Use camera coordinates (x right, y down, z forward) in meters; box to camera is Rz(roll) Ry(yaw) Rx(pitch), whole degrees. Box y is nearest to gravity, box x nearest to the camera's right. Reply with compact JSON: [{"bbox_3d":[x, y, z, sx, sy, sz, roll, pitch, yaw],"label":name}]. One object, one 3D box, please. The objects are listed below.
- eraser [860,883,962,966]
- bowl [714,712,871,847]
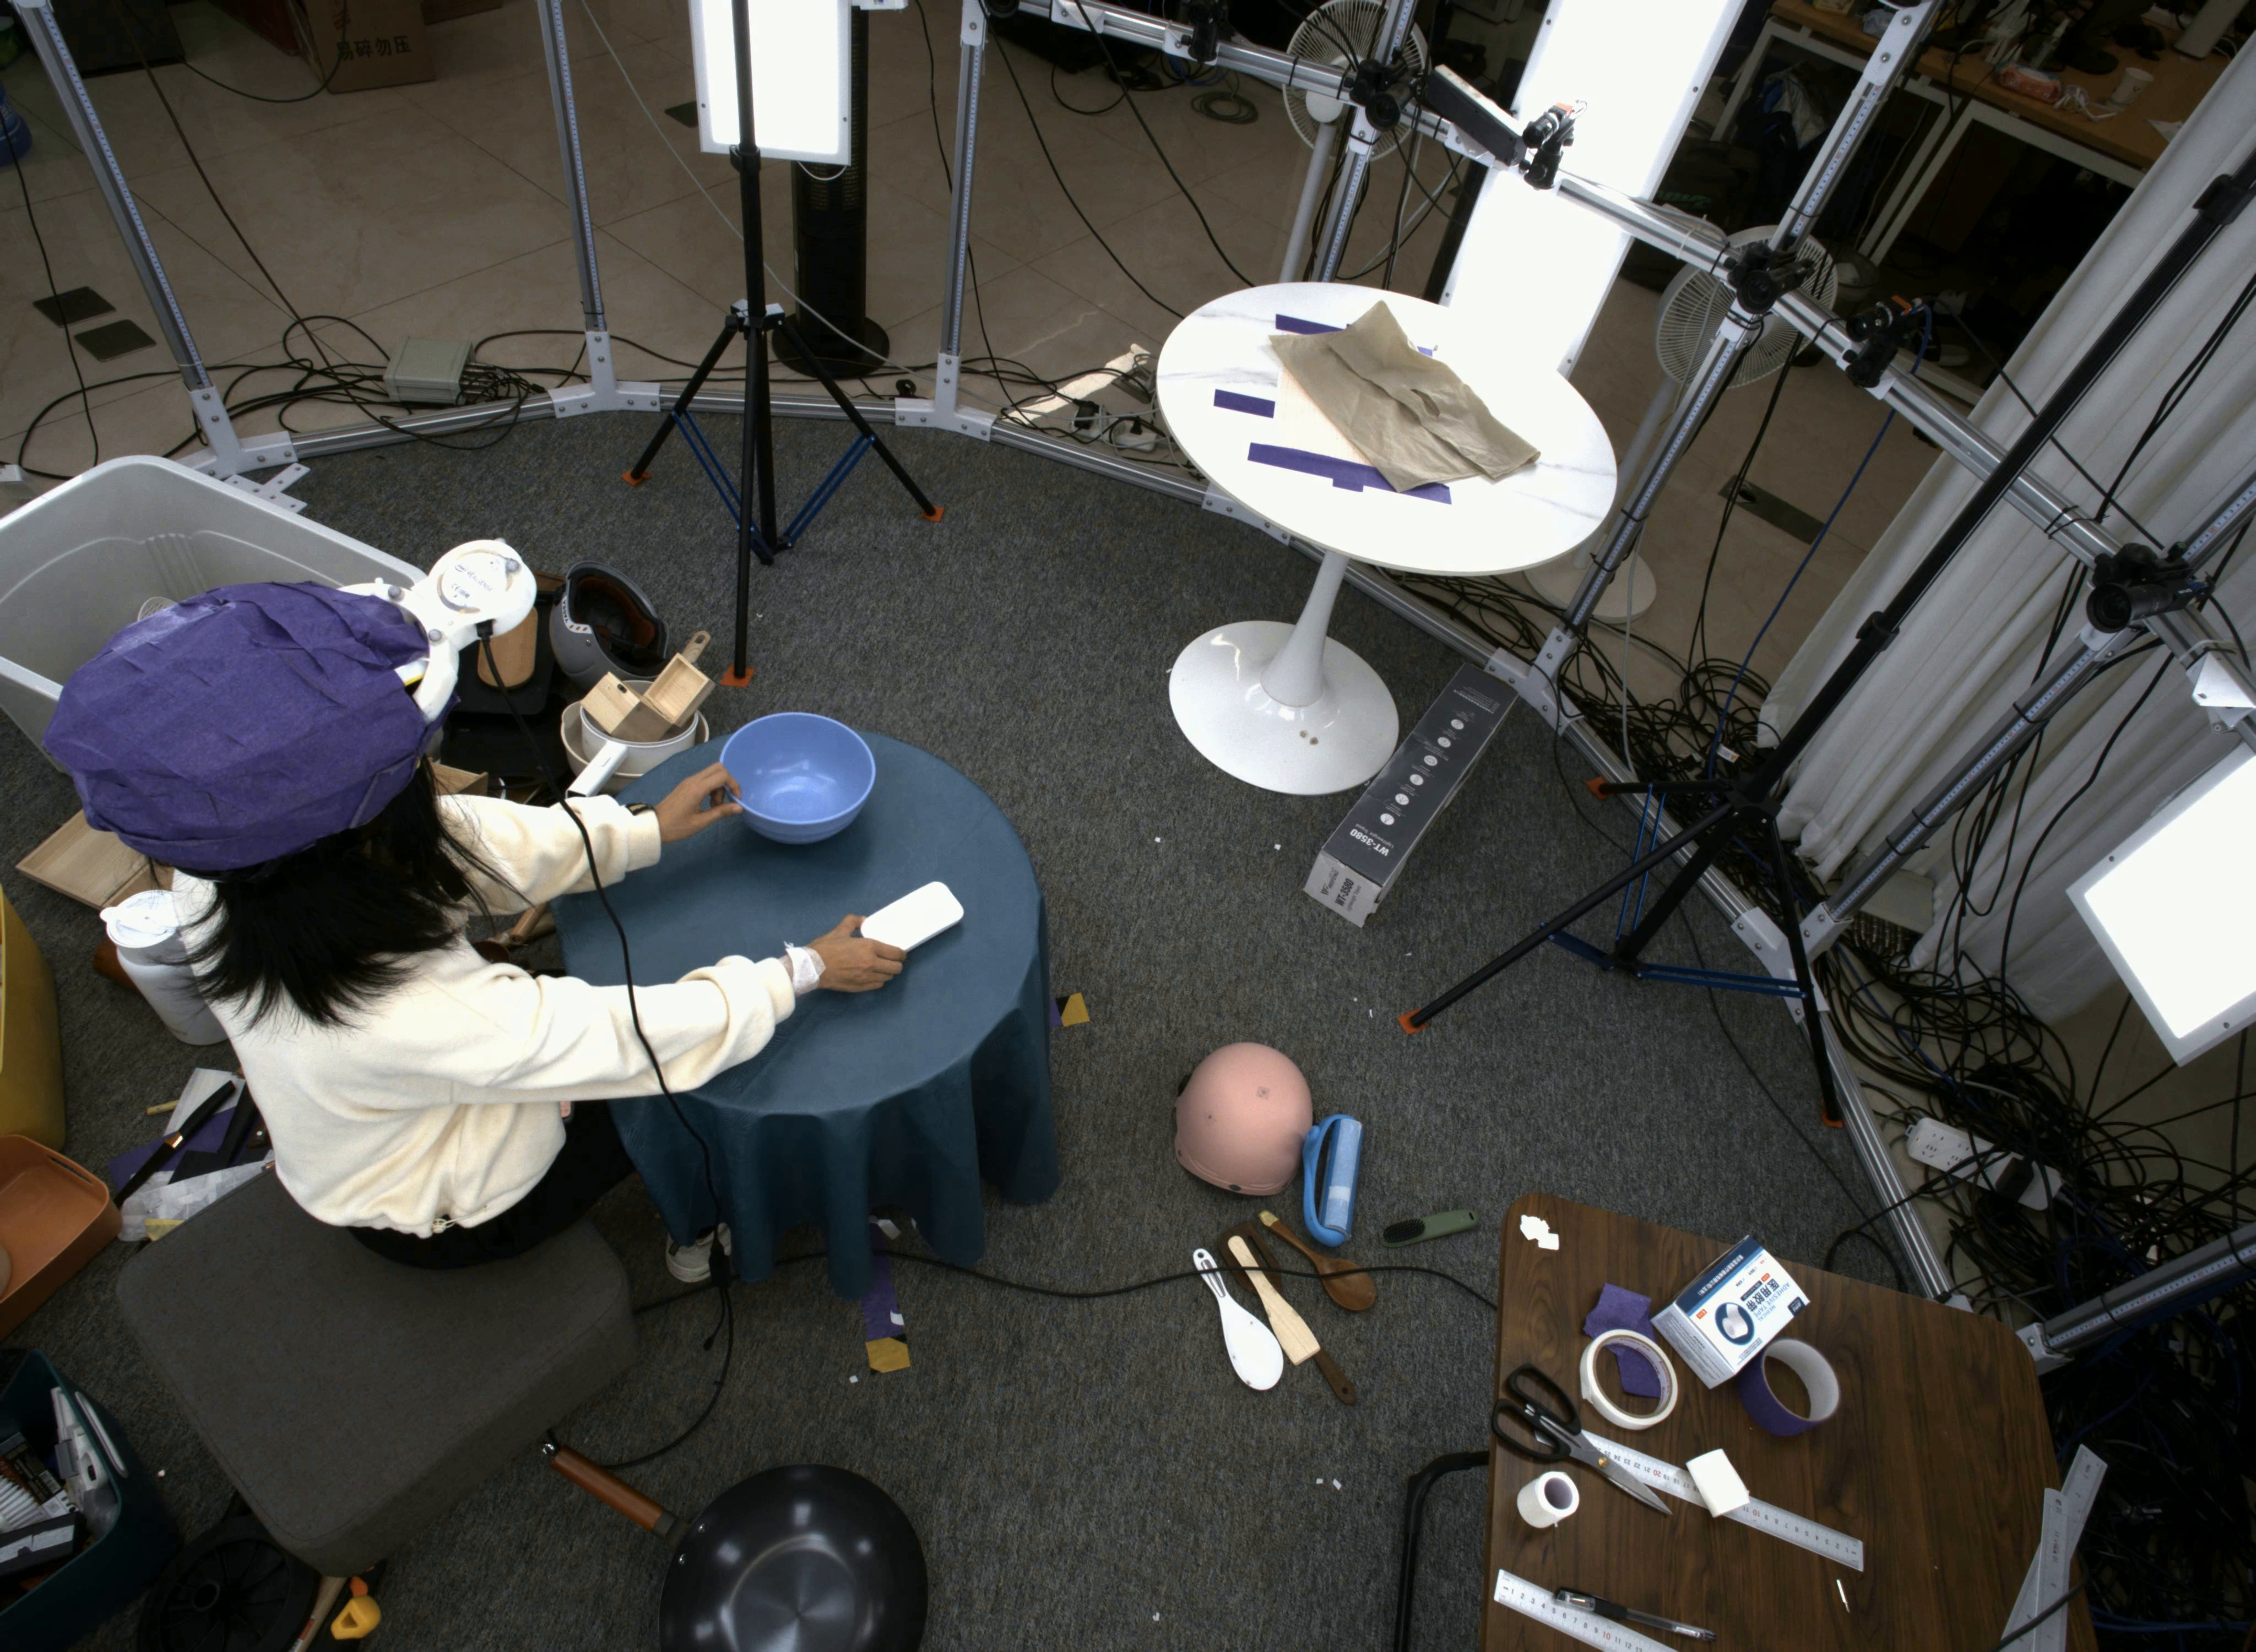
[{"bbox_3d":[-0.274,0.120,1.643,0.132,0.035,0.062,-31,73,-33],"label":"eraser"},{"bbox_3d":[-0.439,-0.045,1.683,0.197,0.097,0.192,14,47,-13],"label":"bowl"}]
